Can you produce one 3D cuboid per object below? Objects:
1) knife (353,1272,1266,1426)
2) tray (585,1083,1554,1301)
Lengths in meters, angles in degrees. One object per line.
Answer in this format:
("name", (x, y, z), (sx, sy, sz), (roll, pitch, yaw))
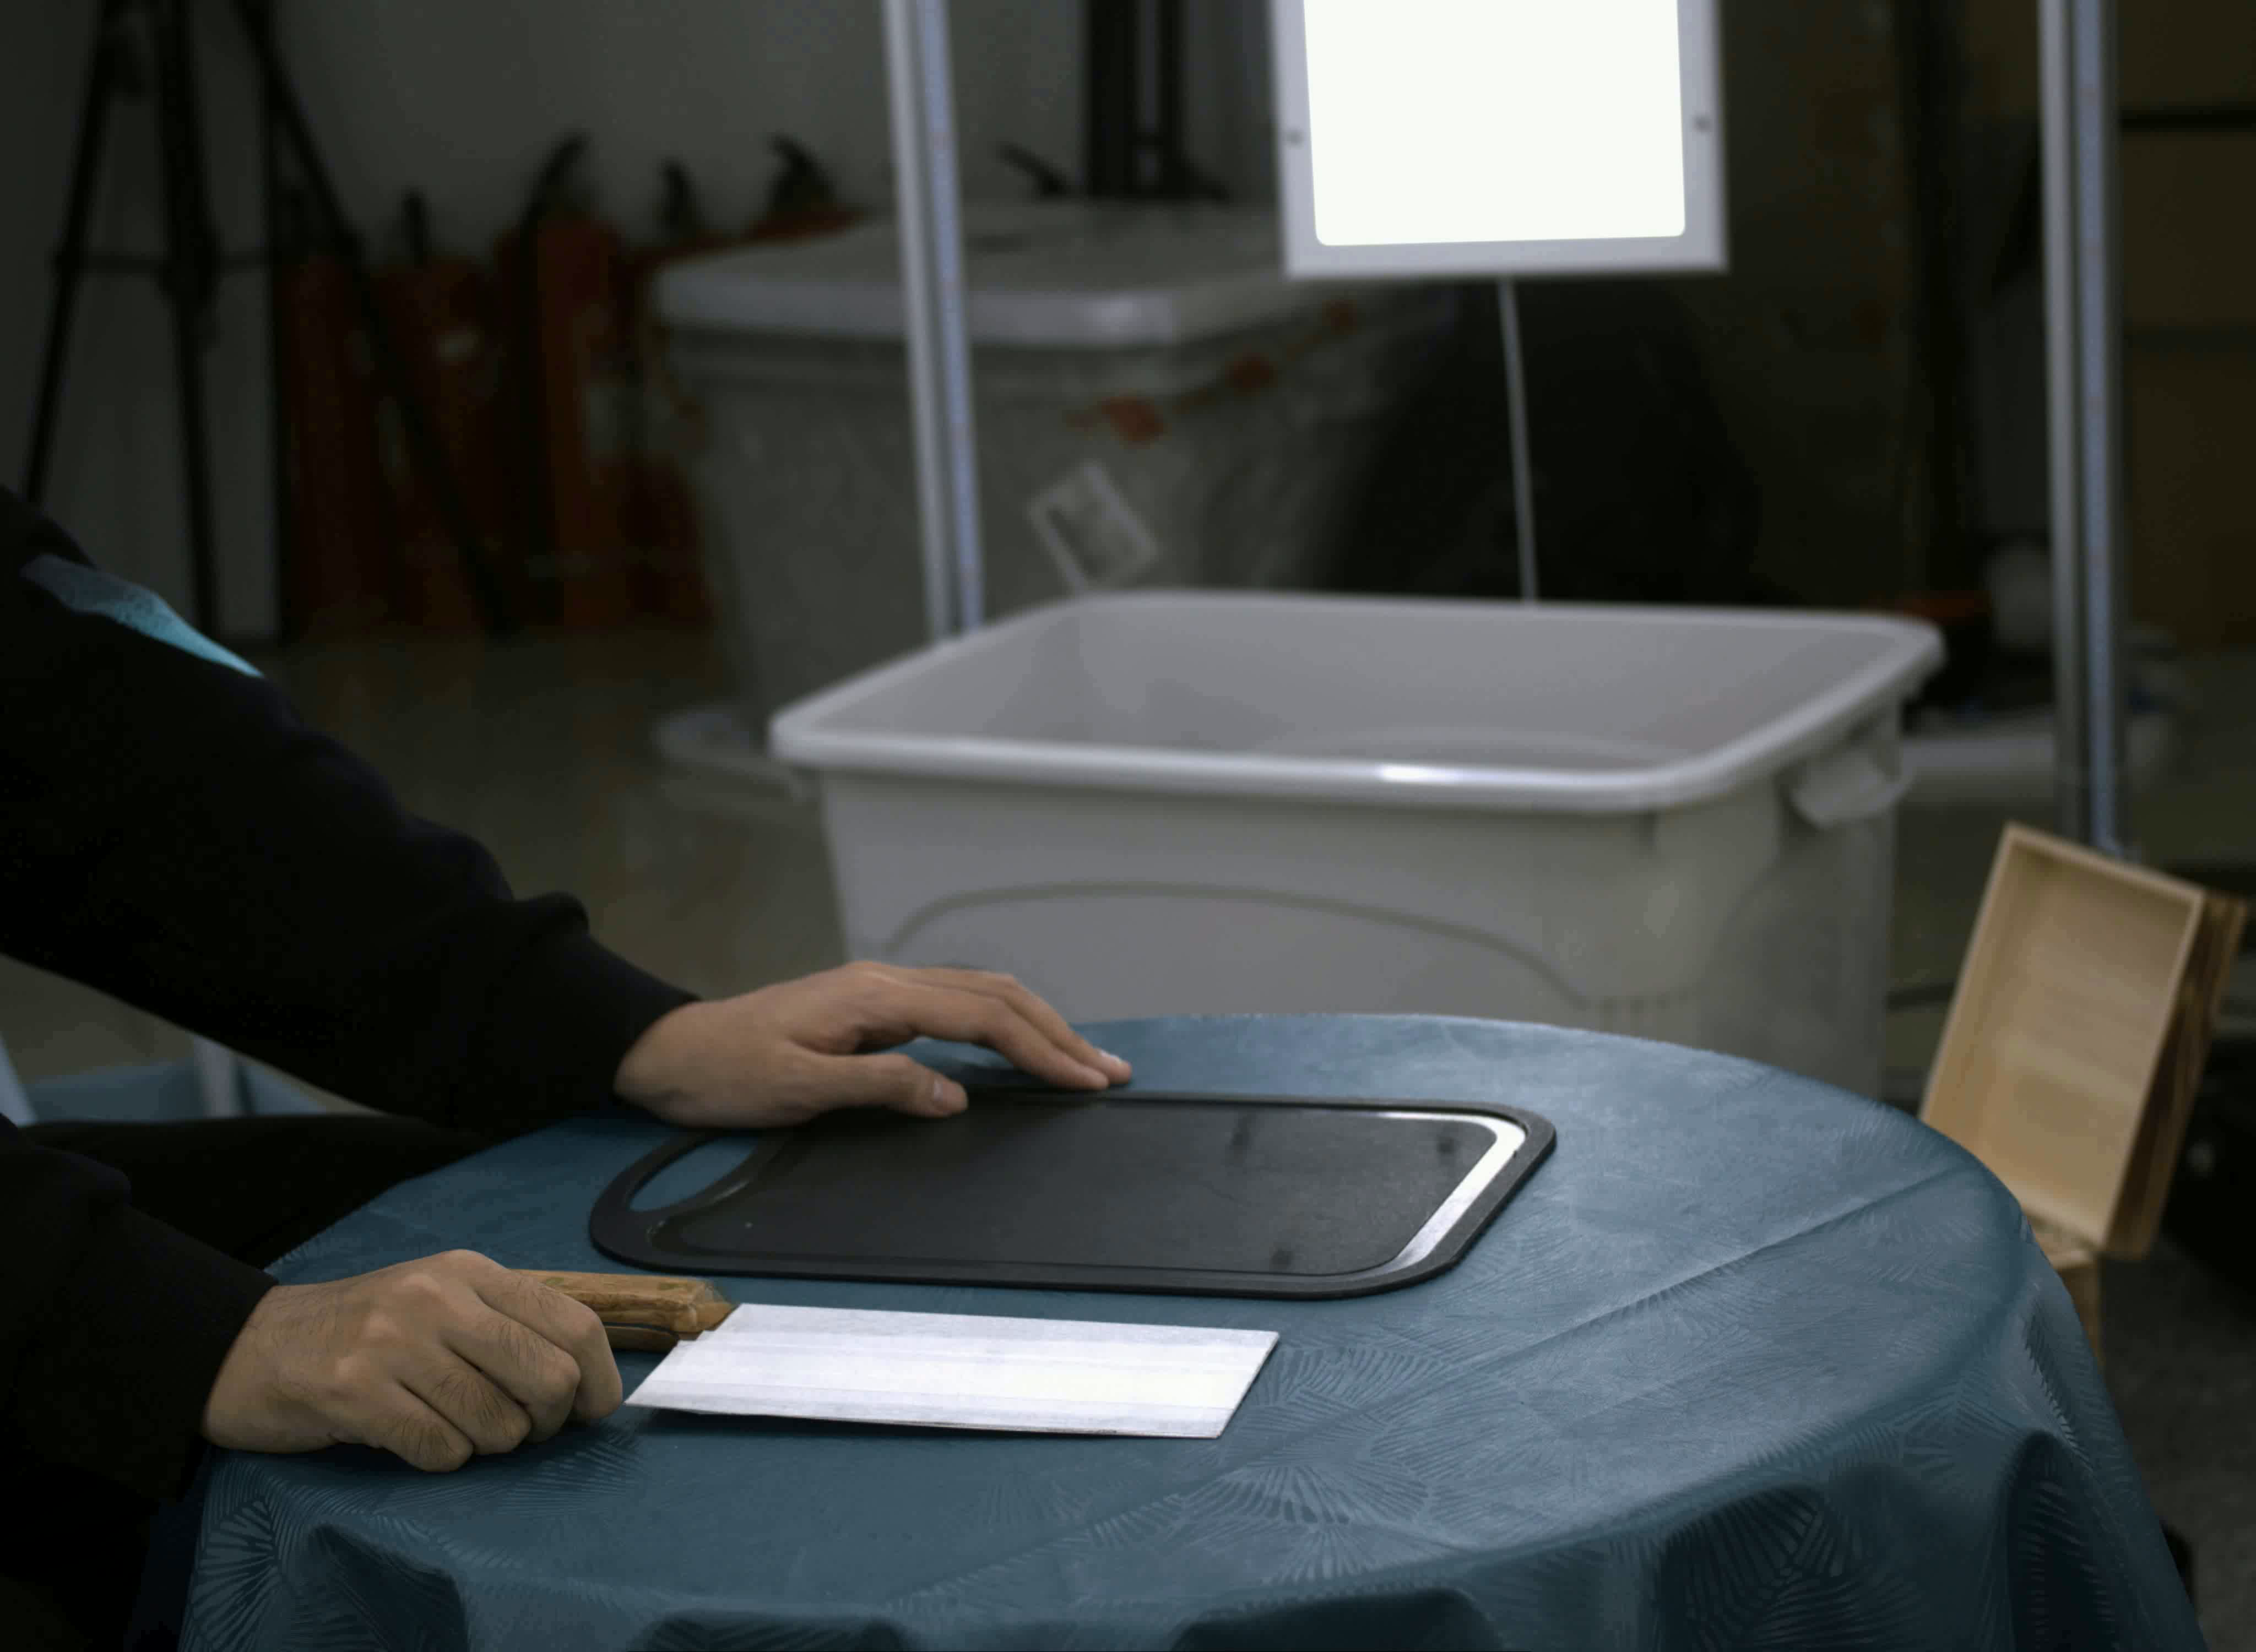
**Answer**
("knife", (-0.109, 0.168, 1.739), (0.309, 0.021, 0.091), (1, 16, 16))
("tray", (-0.026, 0.122, 1.907), (0.330, 0.010, 0.207), (1, 15, 22))
